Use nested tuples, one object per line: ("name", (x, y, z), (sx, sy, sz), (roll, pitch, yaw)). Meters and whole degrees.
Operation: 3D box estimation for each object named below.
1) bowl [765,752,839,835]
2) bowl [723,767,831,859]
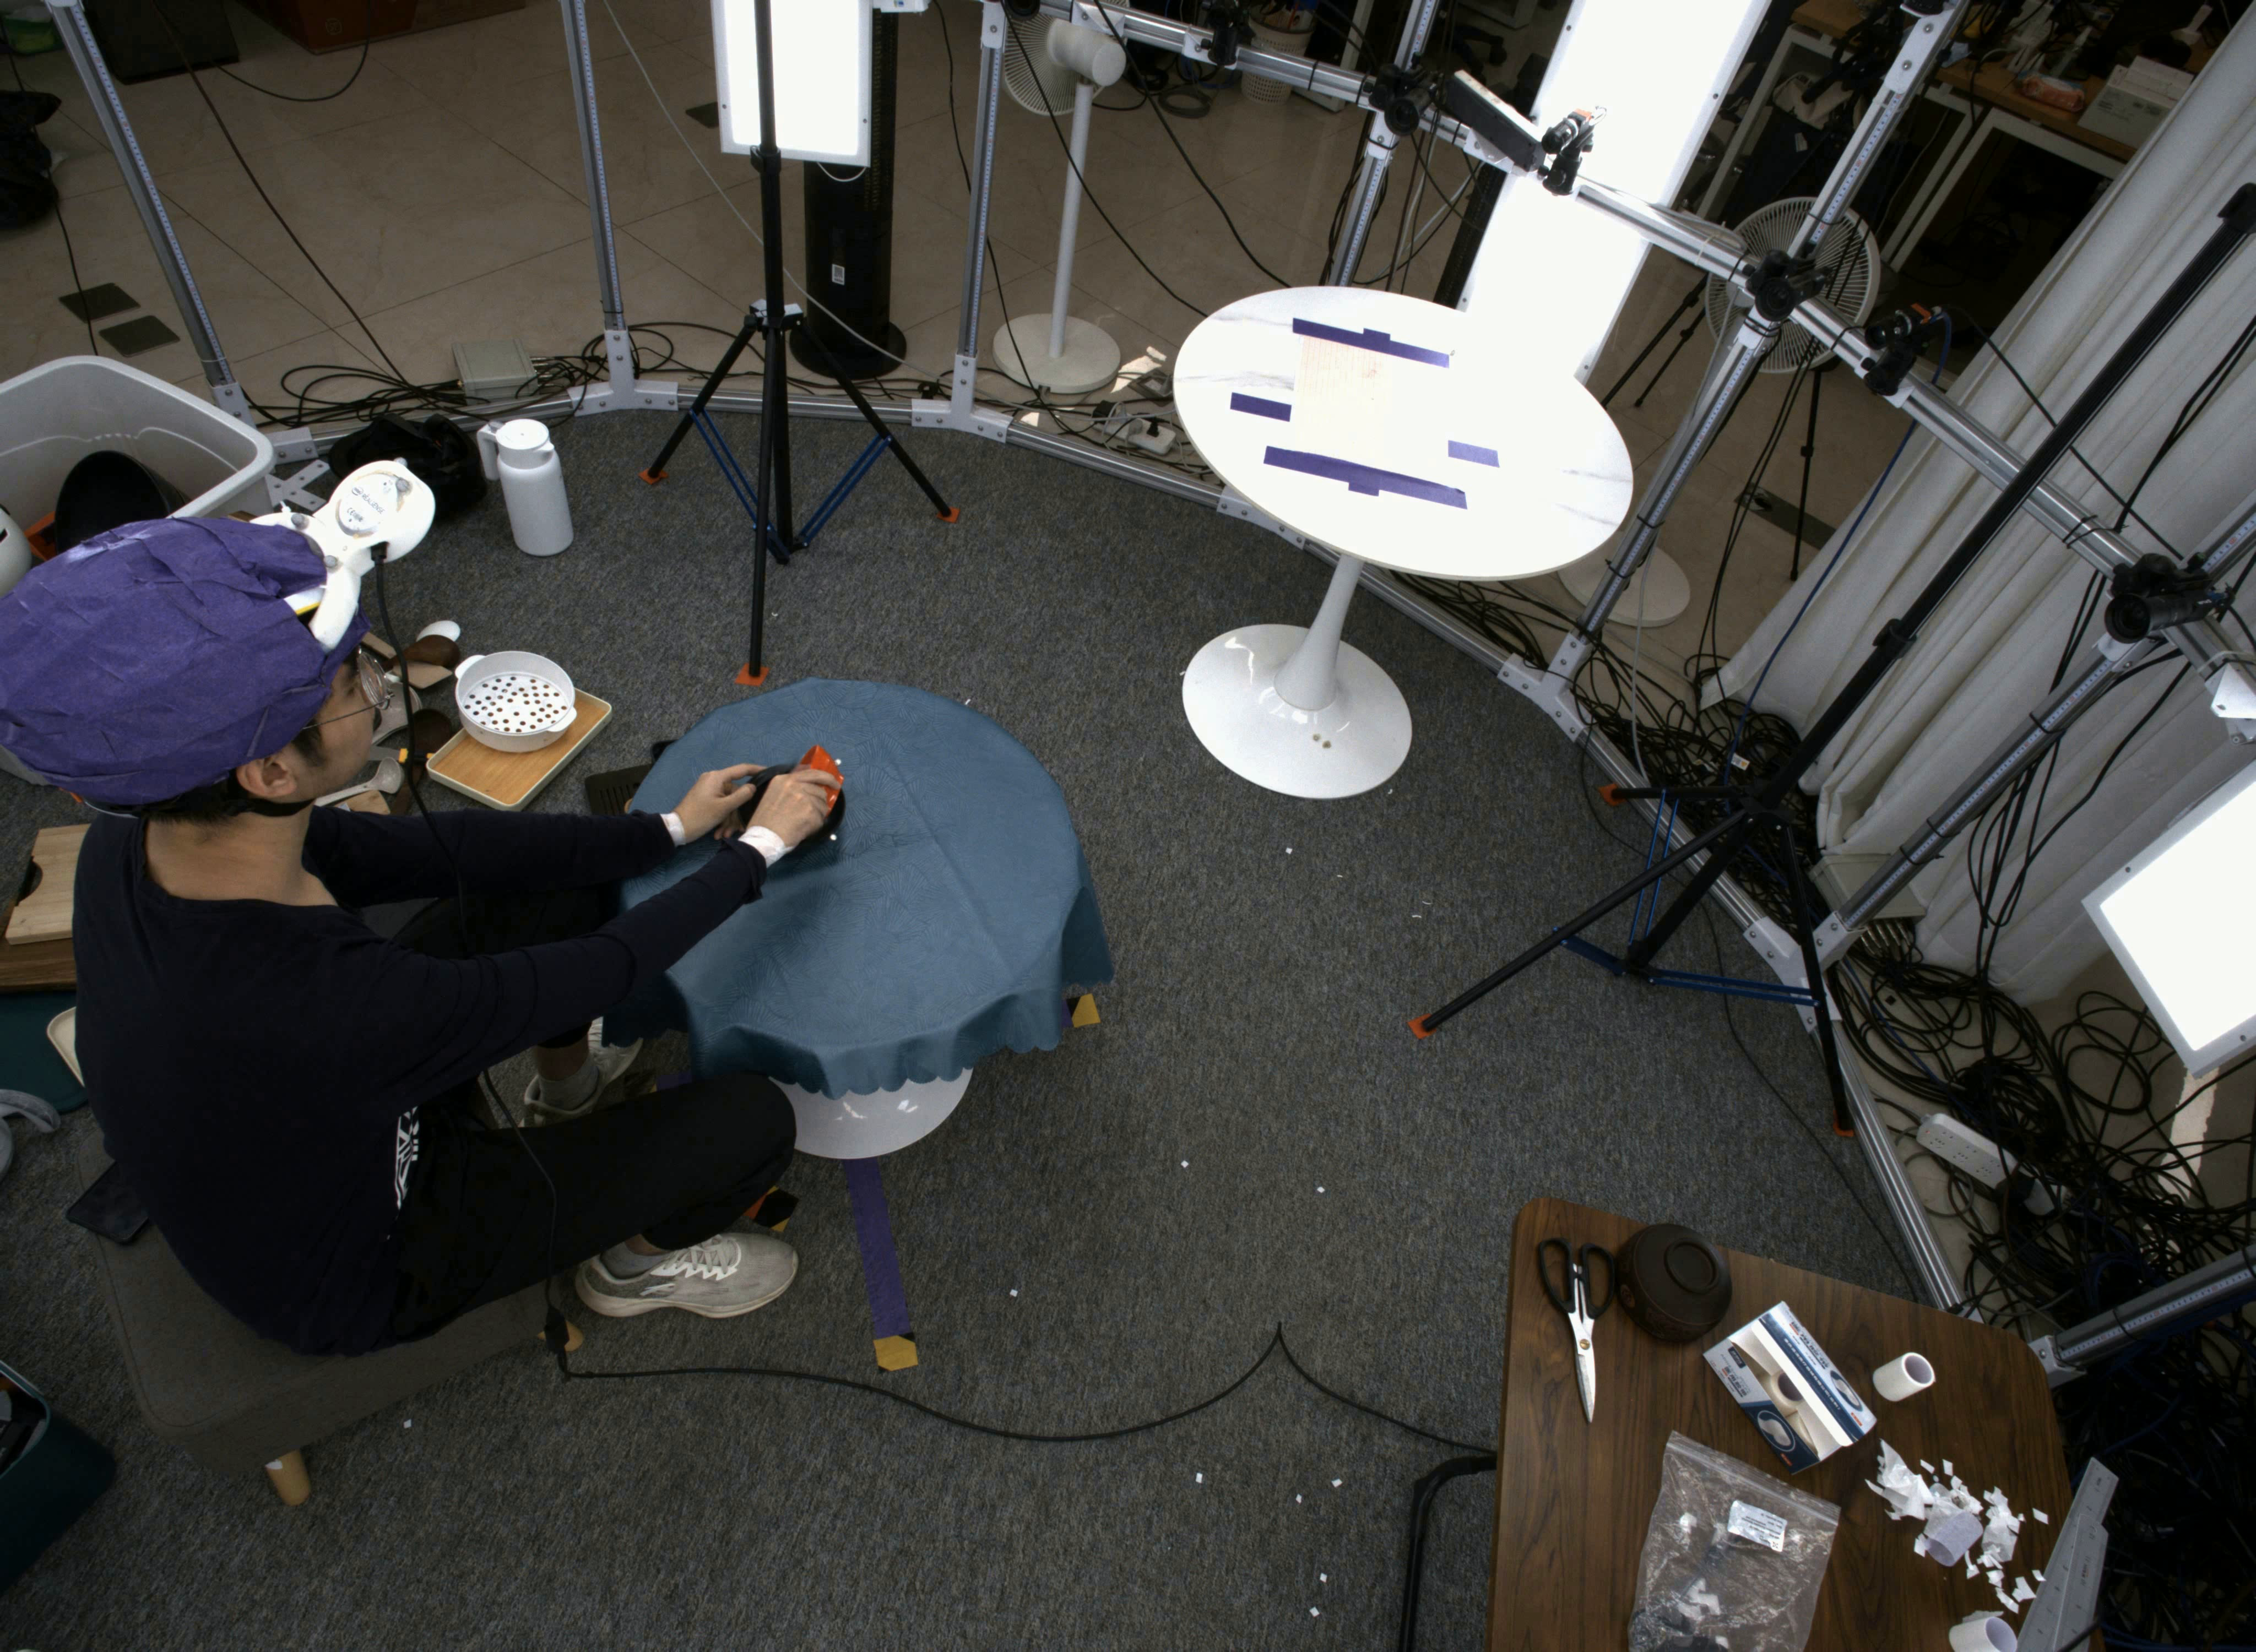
("bowl", (-0.413, -0.033, 1.662), (0.052, 0.117, 0.117), (33, 46, -24))
("bowl", (-0.459, -0.010, 1.704), (0.139, 0.051, 0.138), (5, 55, -6))
